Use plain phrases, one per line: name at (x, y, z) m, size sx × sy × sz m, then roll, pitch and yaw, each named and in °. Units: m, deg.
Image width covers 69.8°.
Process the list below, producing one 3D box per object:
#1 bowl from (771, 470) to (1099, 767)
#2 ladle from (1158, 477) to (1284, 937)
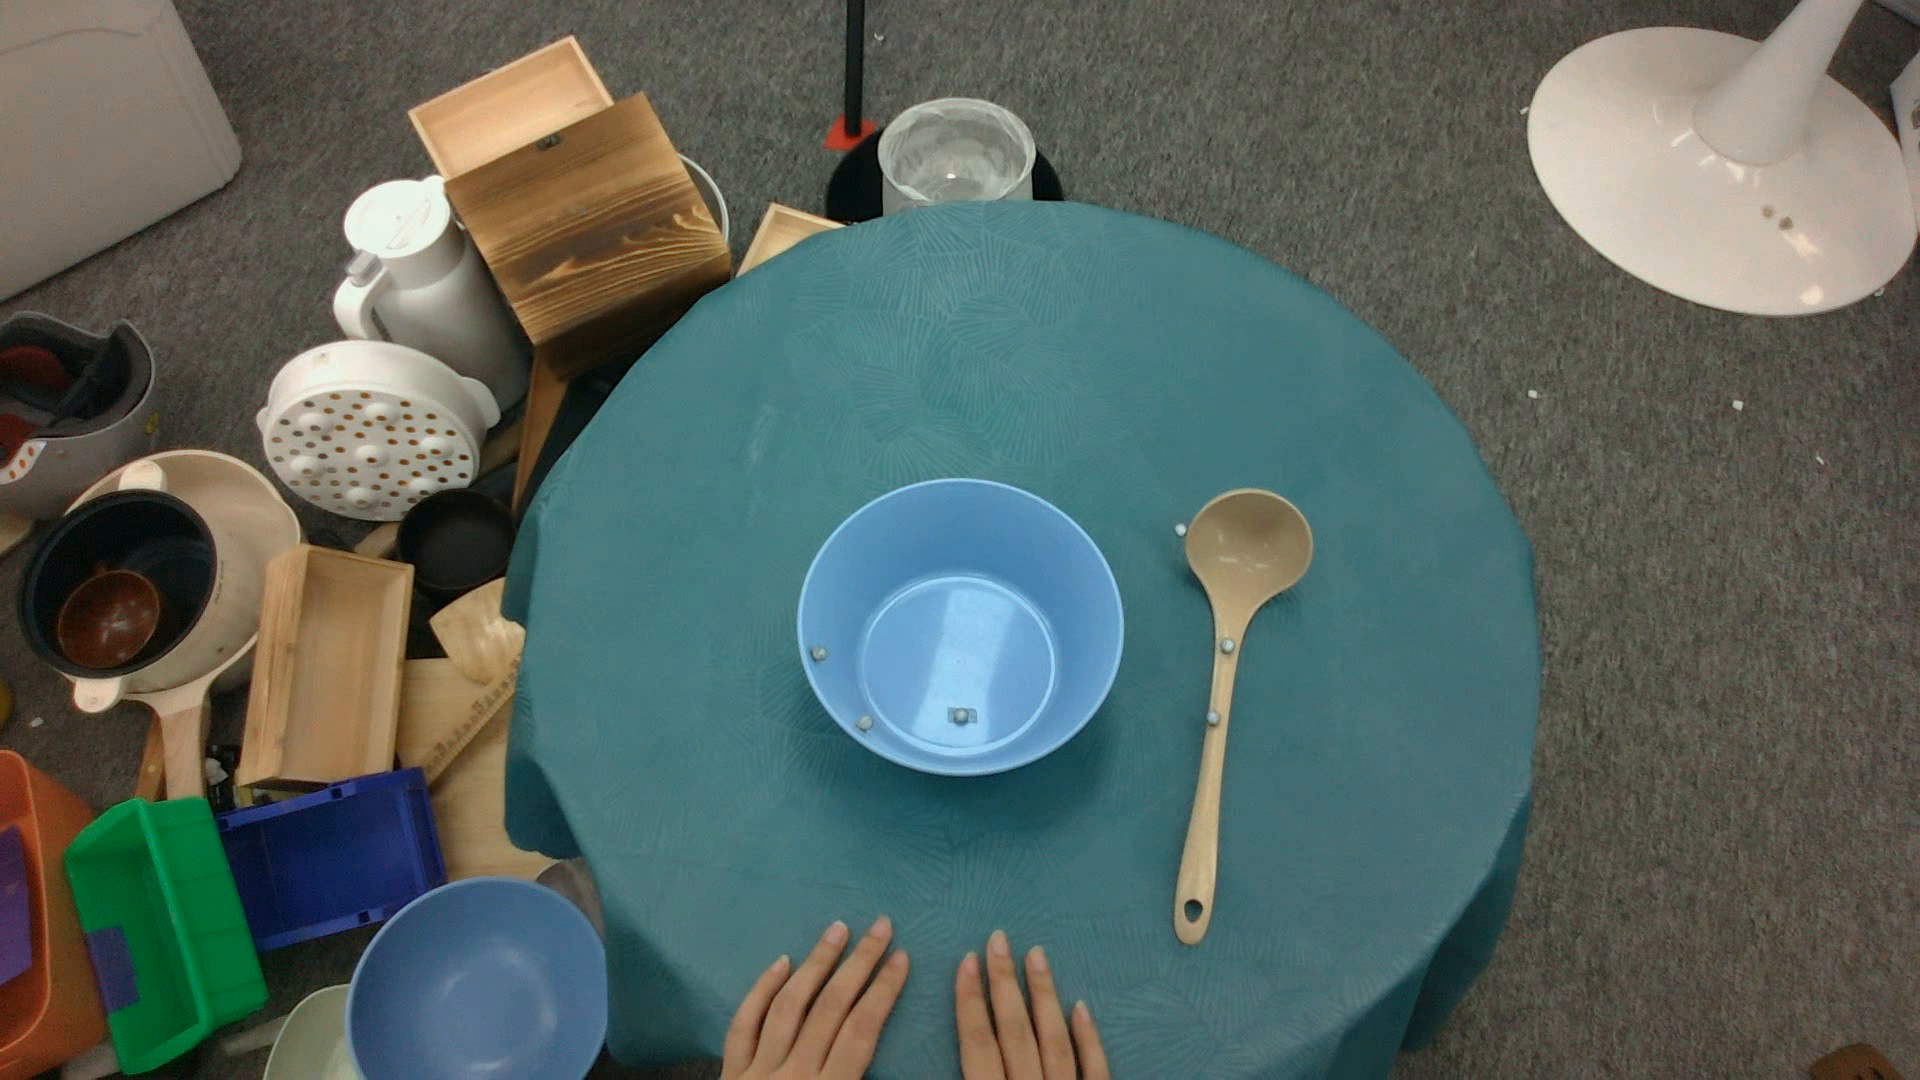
bowl at (-0.014, 0.052, 0.765) m, size 0.176 × 0.070 × 0.177 m, roll 1°, pitch 61°, yaw -2°
ladle at (0.135, 0.082, 0.754) m, size 0.072 × 0.072 × 0.255 m, roll 9°, pitch 61°, yaw 3°
